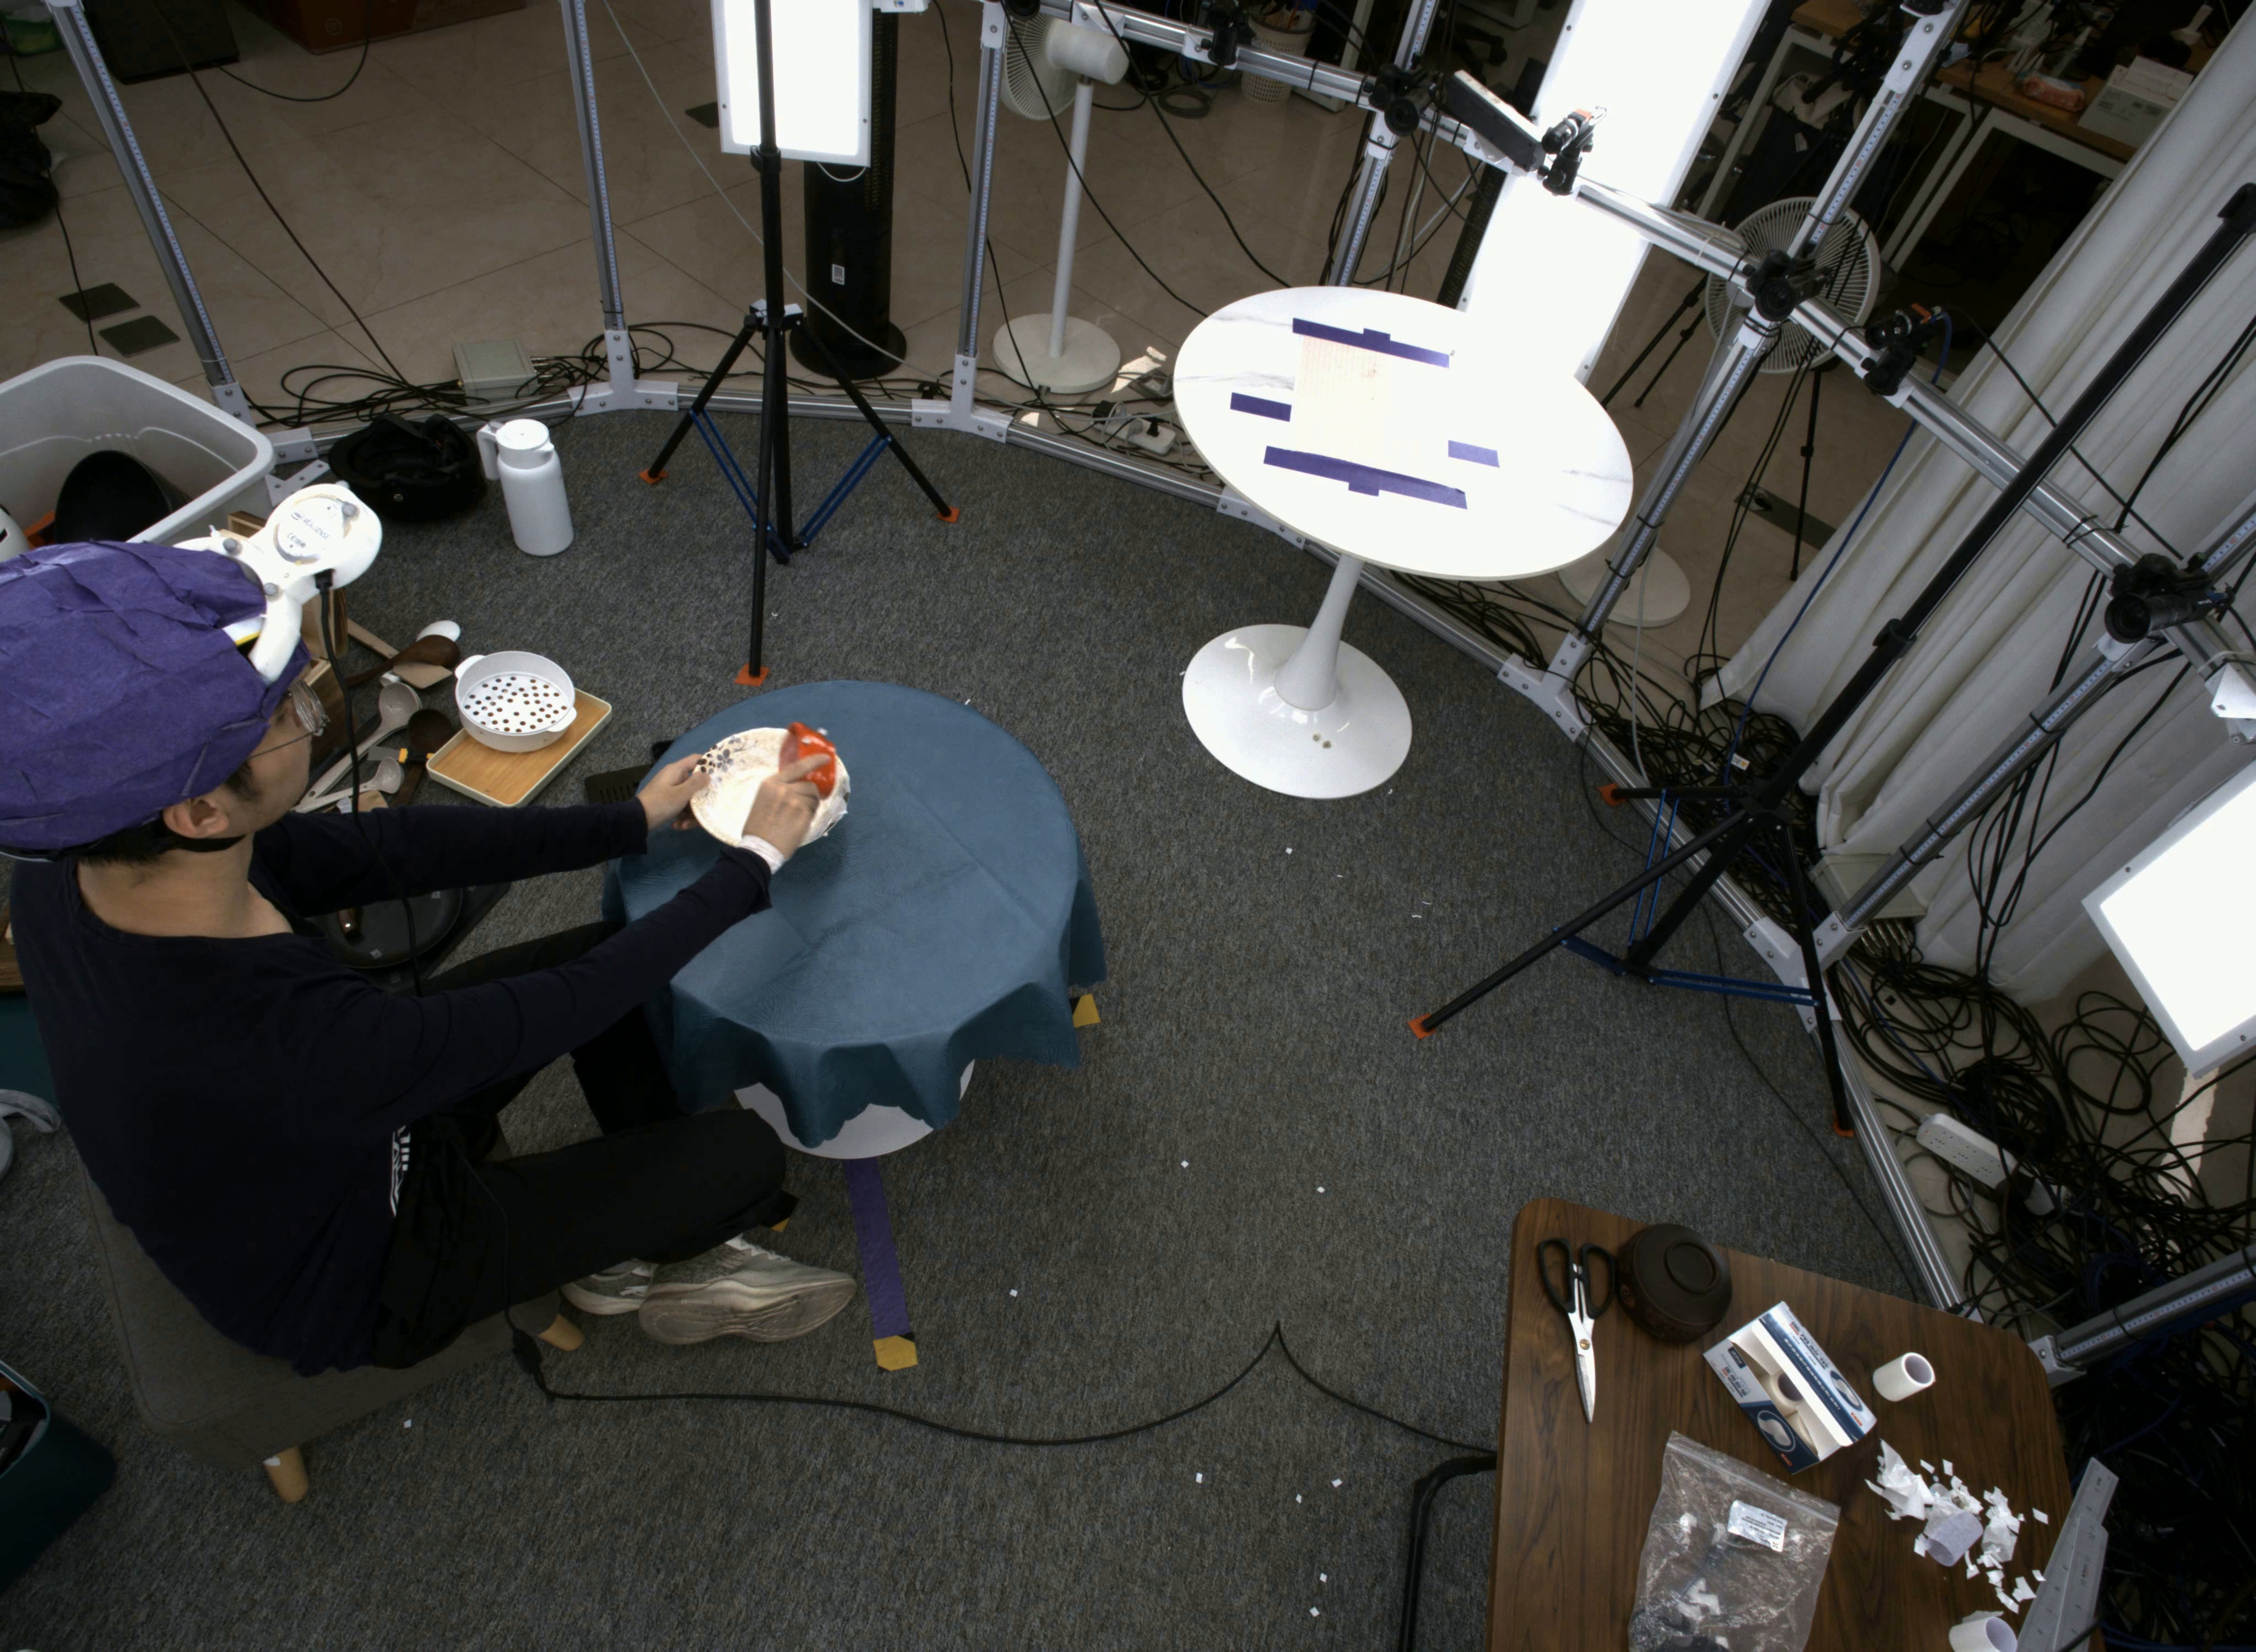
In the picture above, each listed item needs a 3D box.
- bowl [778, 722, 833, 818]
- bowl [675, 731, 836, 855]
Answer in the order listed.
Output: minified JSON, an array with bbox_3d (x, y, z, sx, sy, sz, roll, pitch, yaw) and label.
[{"bbox_3d":[-0.395,-0.068,1.590,0.052,0.120,0.116,2,51,-25],"label":"bowl"},{"bbox_3d":[-0.483,-0.024,1.689,0.203,0.079,0.200,7,52,-8],"label":"bowl"}]
